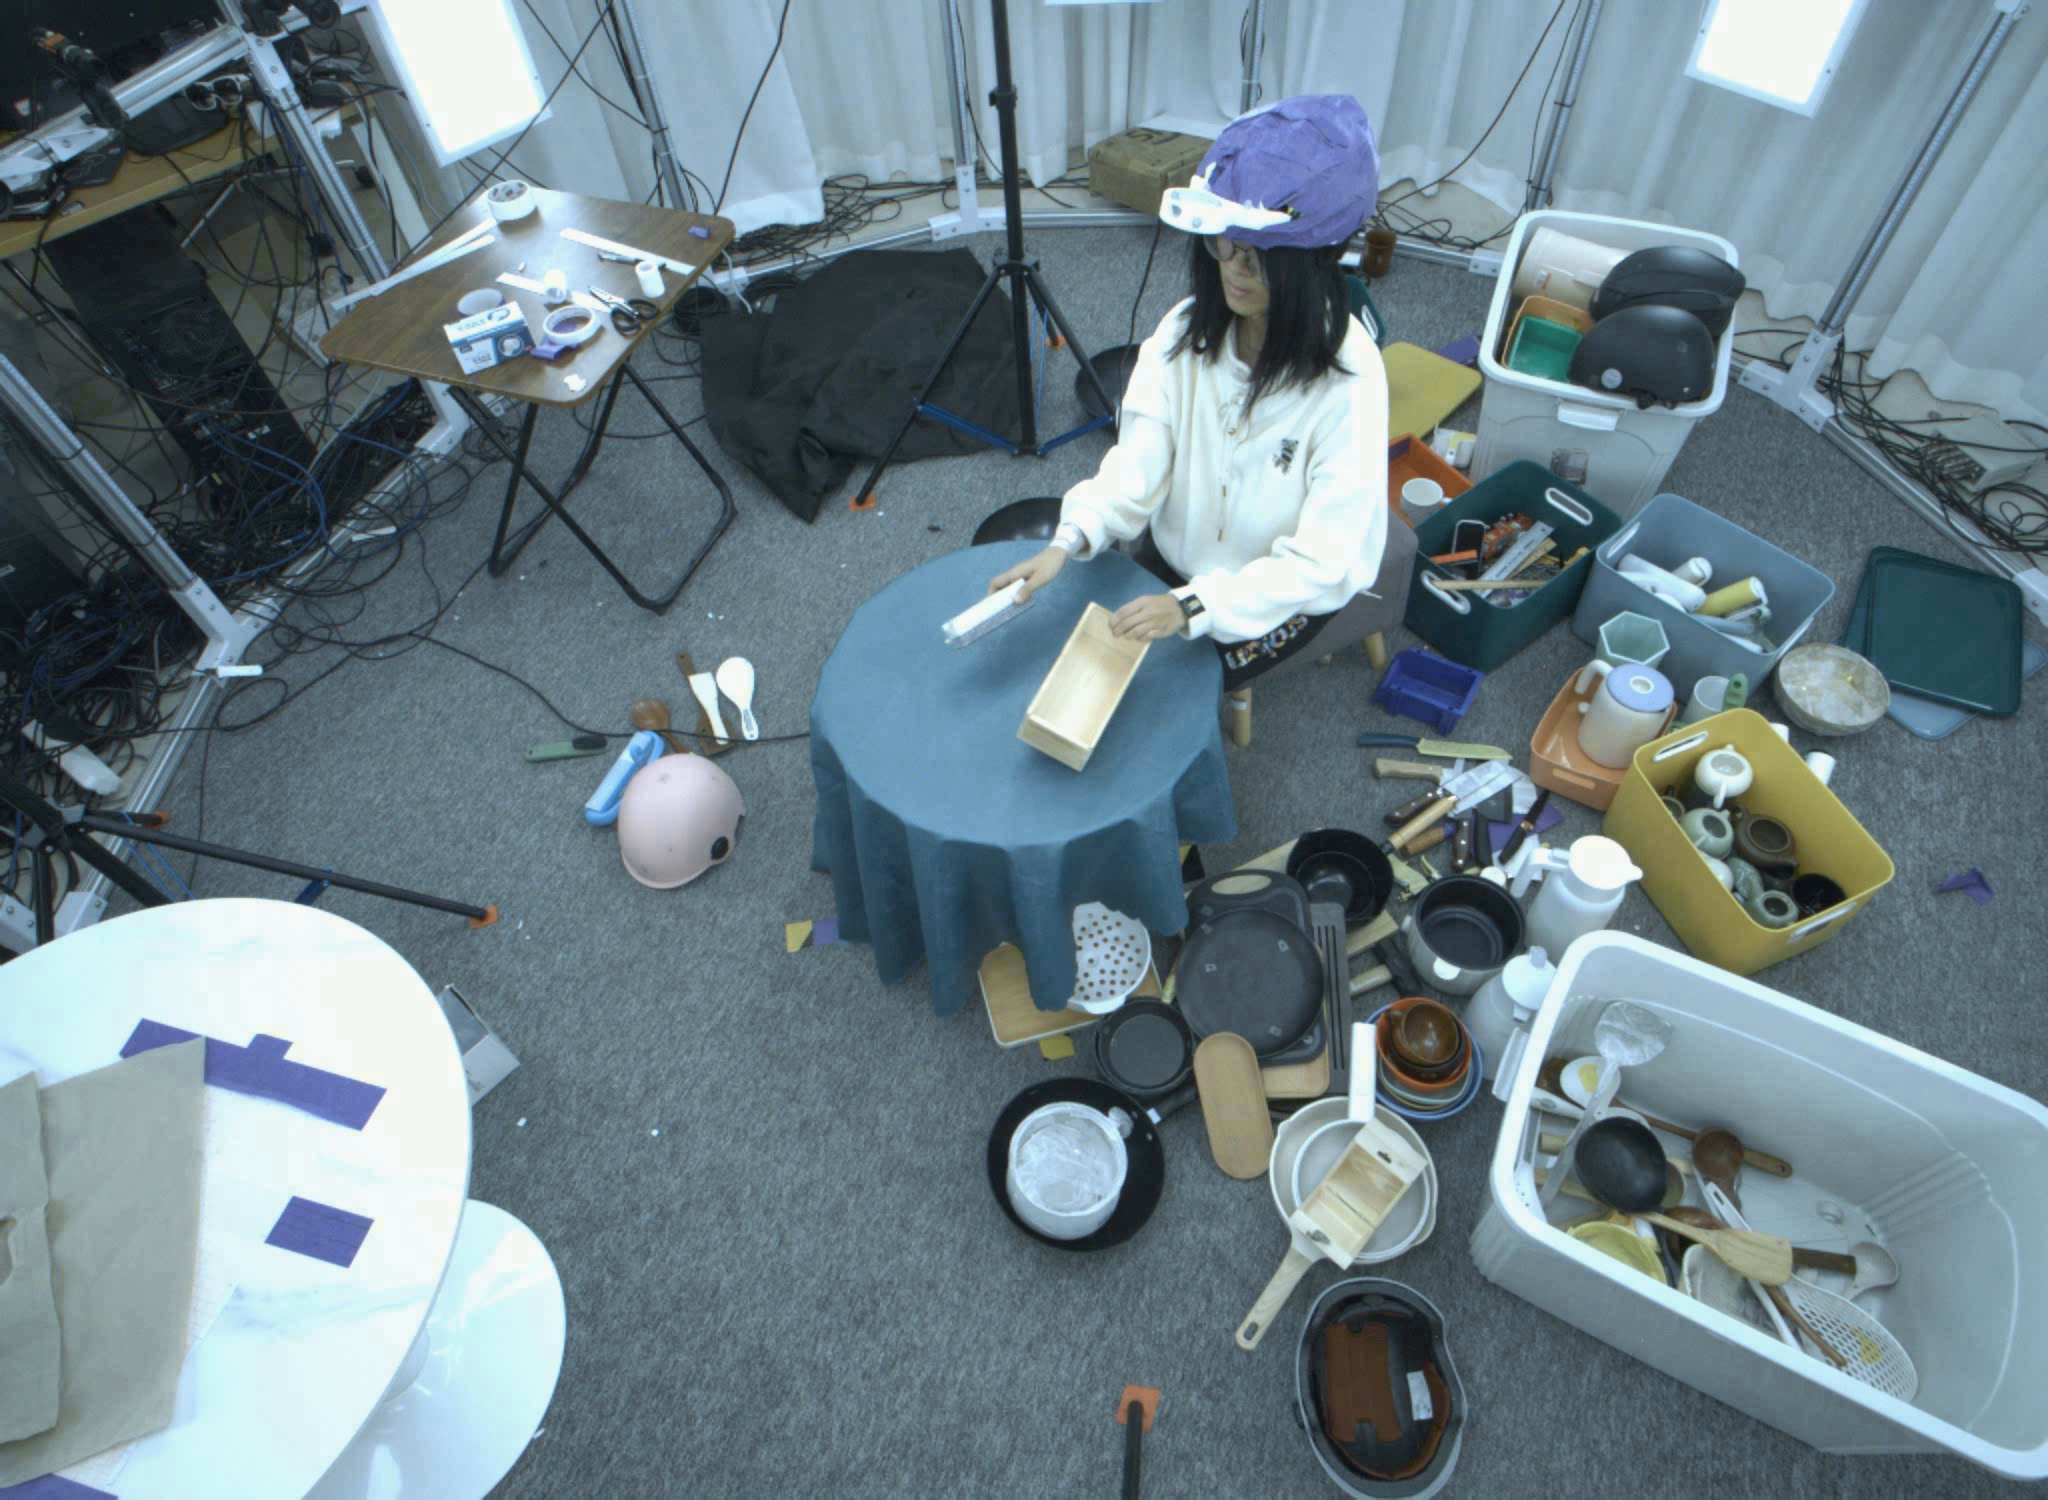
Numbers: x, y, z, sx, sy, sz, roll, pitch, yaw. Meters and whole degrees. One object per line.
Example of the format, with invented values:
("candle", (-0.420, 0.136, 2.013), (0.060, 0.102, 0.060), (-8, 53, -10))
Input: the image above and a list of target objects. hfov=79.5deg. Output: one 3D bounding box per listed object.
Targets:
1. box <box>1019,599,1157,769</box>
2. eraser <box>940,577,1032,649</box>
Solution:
("box", (0.091, -0.095, 1.760), (0.108, 0.080, 0.211), (29, 65, -1))
("eraser", (-0.055, -0.203, 1.823), (0.135, 0.049, 0.047), (-36, 100, -23))
